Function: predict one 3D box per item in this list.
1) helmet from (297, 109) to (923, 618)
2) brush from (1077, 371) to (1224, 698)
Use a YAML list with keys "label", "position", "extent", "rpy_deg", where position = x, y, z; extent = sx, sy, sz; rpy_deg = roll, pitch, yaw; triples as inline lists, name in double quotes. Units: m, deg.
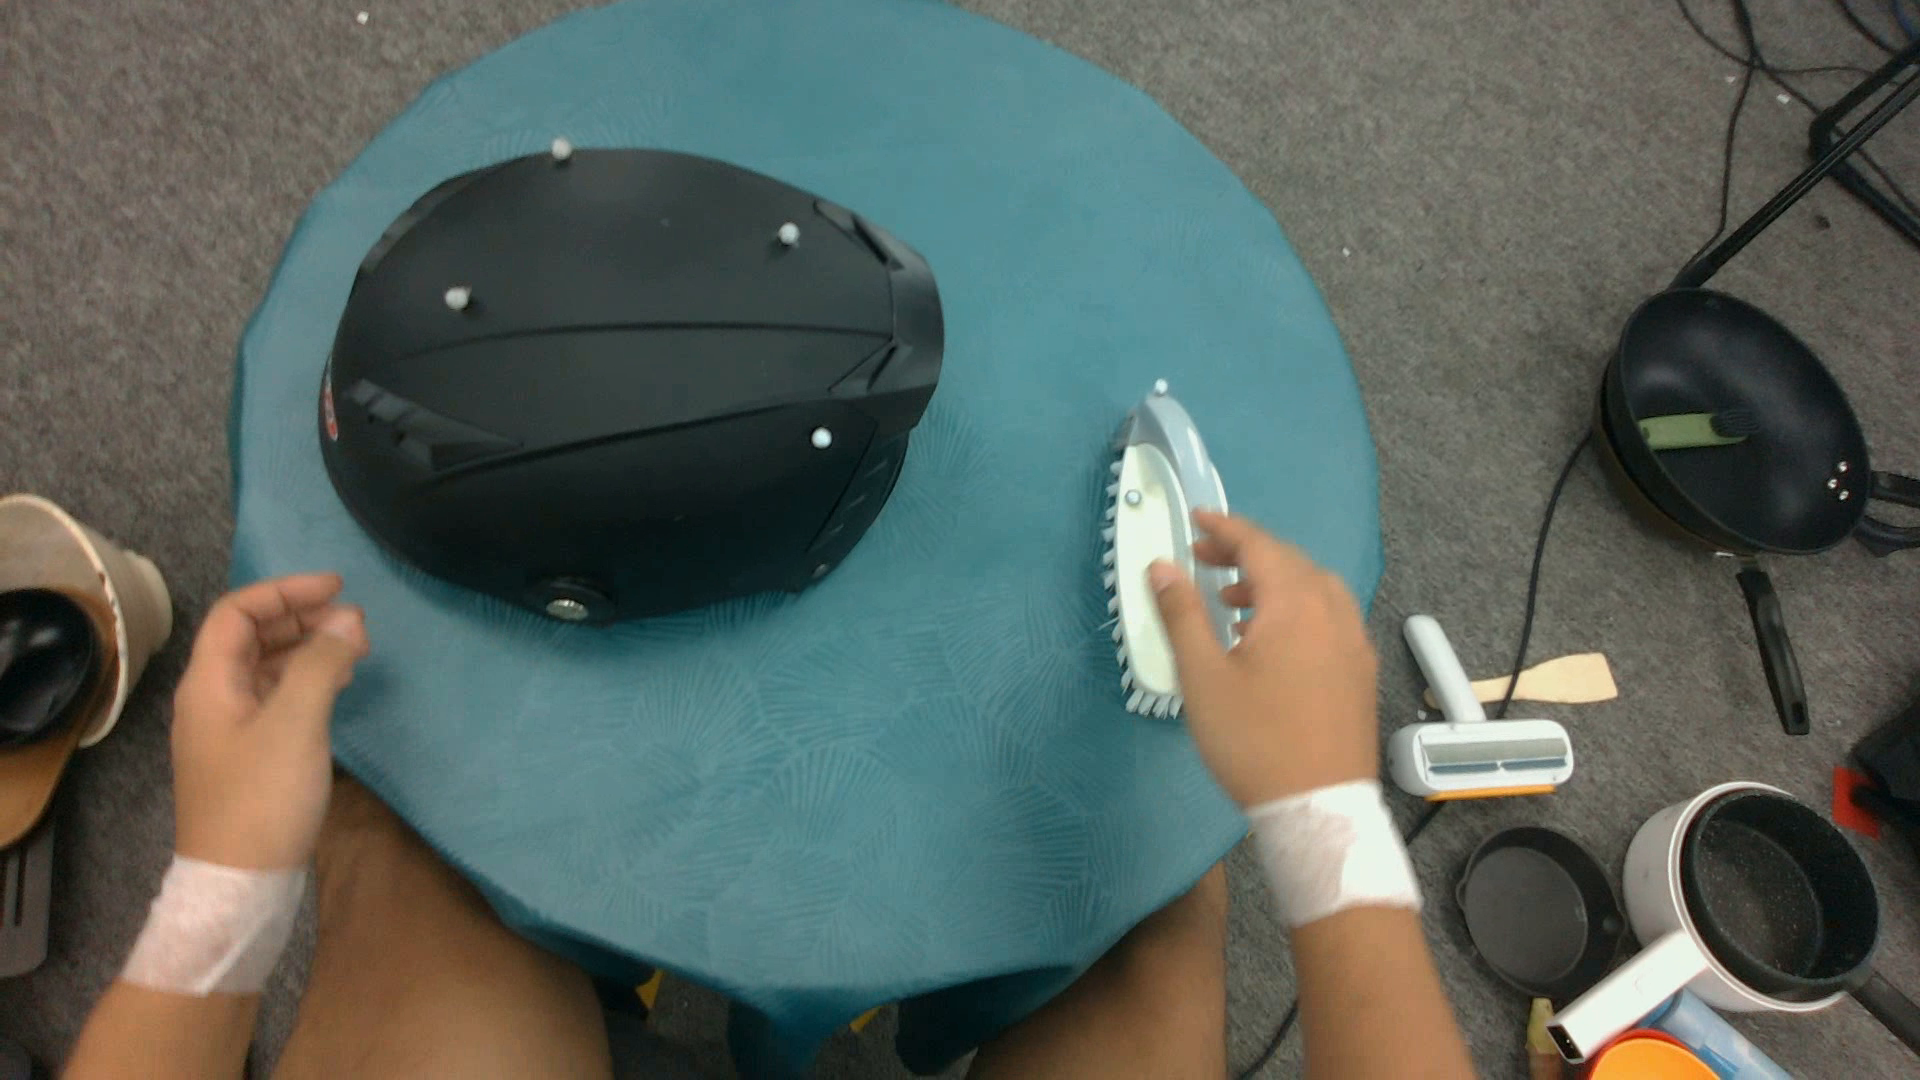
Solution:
- label: "helmet"
  position: [-0.160, -0.095, 0.632]
  extent: [0.277, 0.171, 0.247]
  rpy_deg: [2, 67, -16]
- label: "brush"
  position: [0.097, -0.016, 0.694]
  extent: [0.061, 0.094, 0.176]
  rpy_deg: [1, 65, -14]
